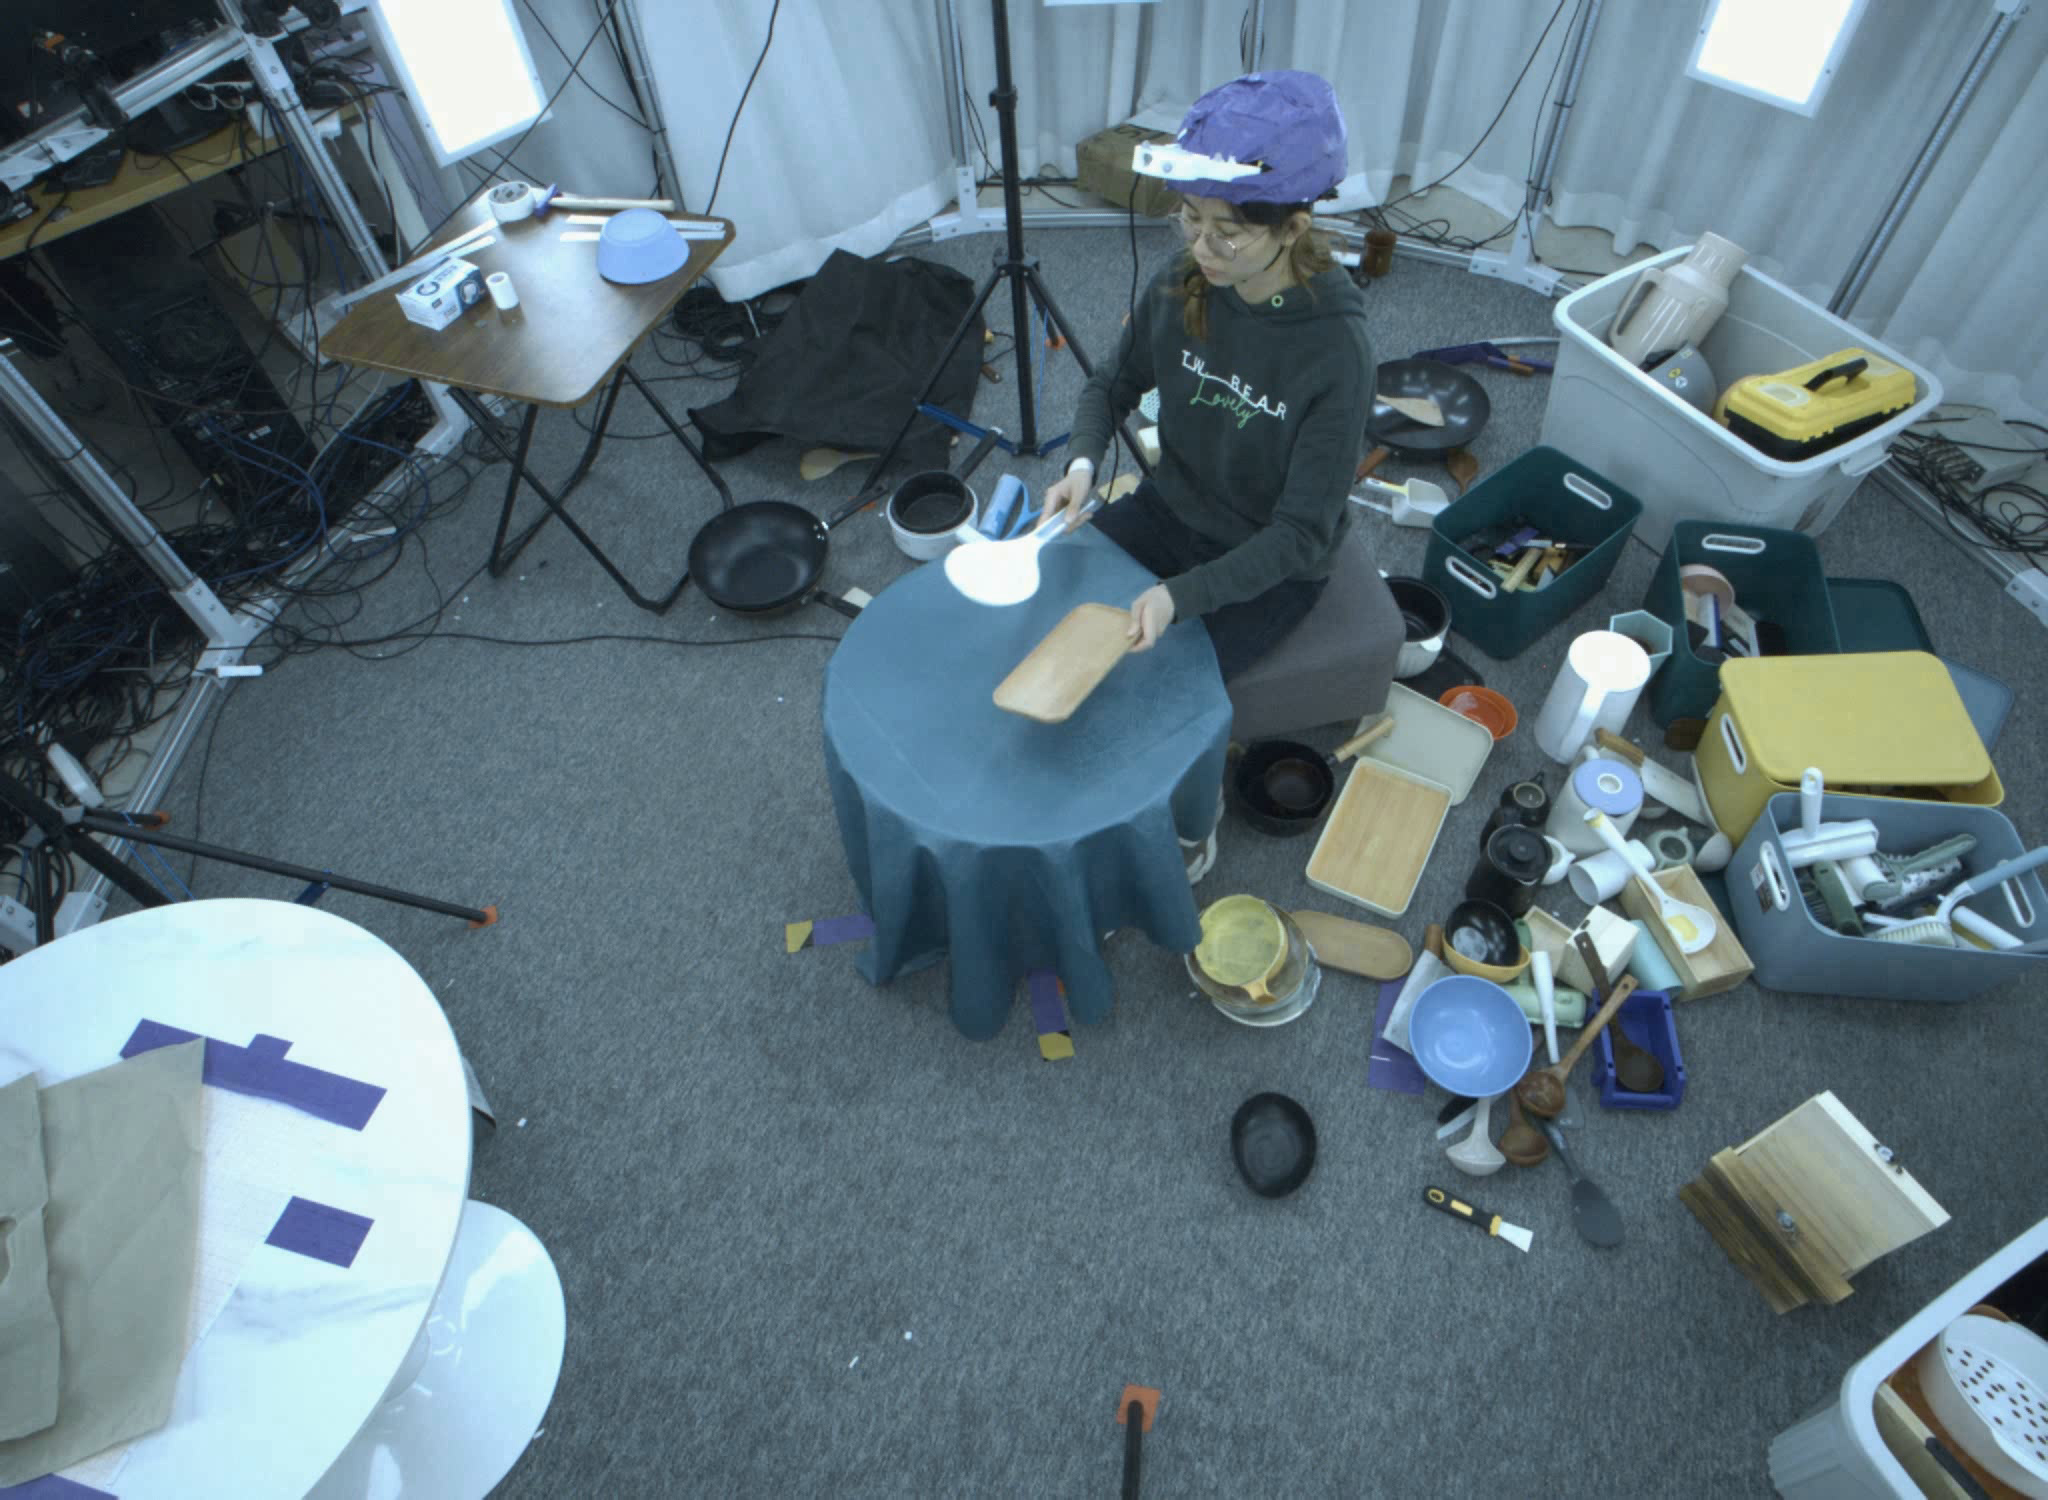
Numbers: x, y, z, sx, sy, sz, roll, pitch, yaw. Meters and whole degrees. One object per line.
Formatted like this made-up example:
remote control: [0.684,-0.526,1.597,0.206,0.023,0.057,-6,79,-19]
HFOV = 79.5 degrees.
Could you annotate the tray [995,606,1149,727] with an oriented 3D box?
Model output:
tray: [0.071,-0.123,1.765,0.128,0.023,0.252,21,52,30]

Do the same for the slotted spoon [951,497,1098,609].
slotted spoon: [0.015,-0.305,1.846,0.135,0.046,0.352,34,51,11]
